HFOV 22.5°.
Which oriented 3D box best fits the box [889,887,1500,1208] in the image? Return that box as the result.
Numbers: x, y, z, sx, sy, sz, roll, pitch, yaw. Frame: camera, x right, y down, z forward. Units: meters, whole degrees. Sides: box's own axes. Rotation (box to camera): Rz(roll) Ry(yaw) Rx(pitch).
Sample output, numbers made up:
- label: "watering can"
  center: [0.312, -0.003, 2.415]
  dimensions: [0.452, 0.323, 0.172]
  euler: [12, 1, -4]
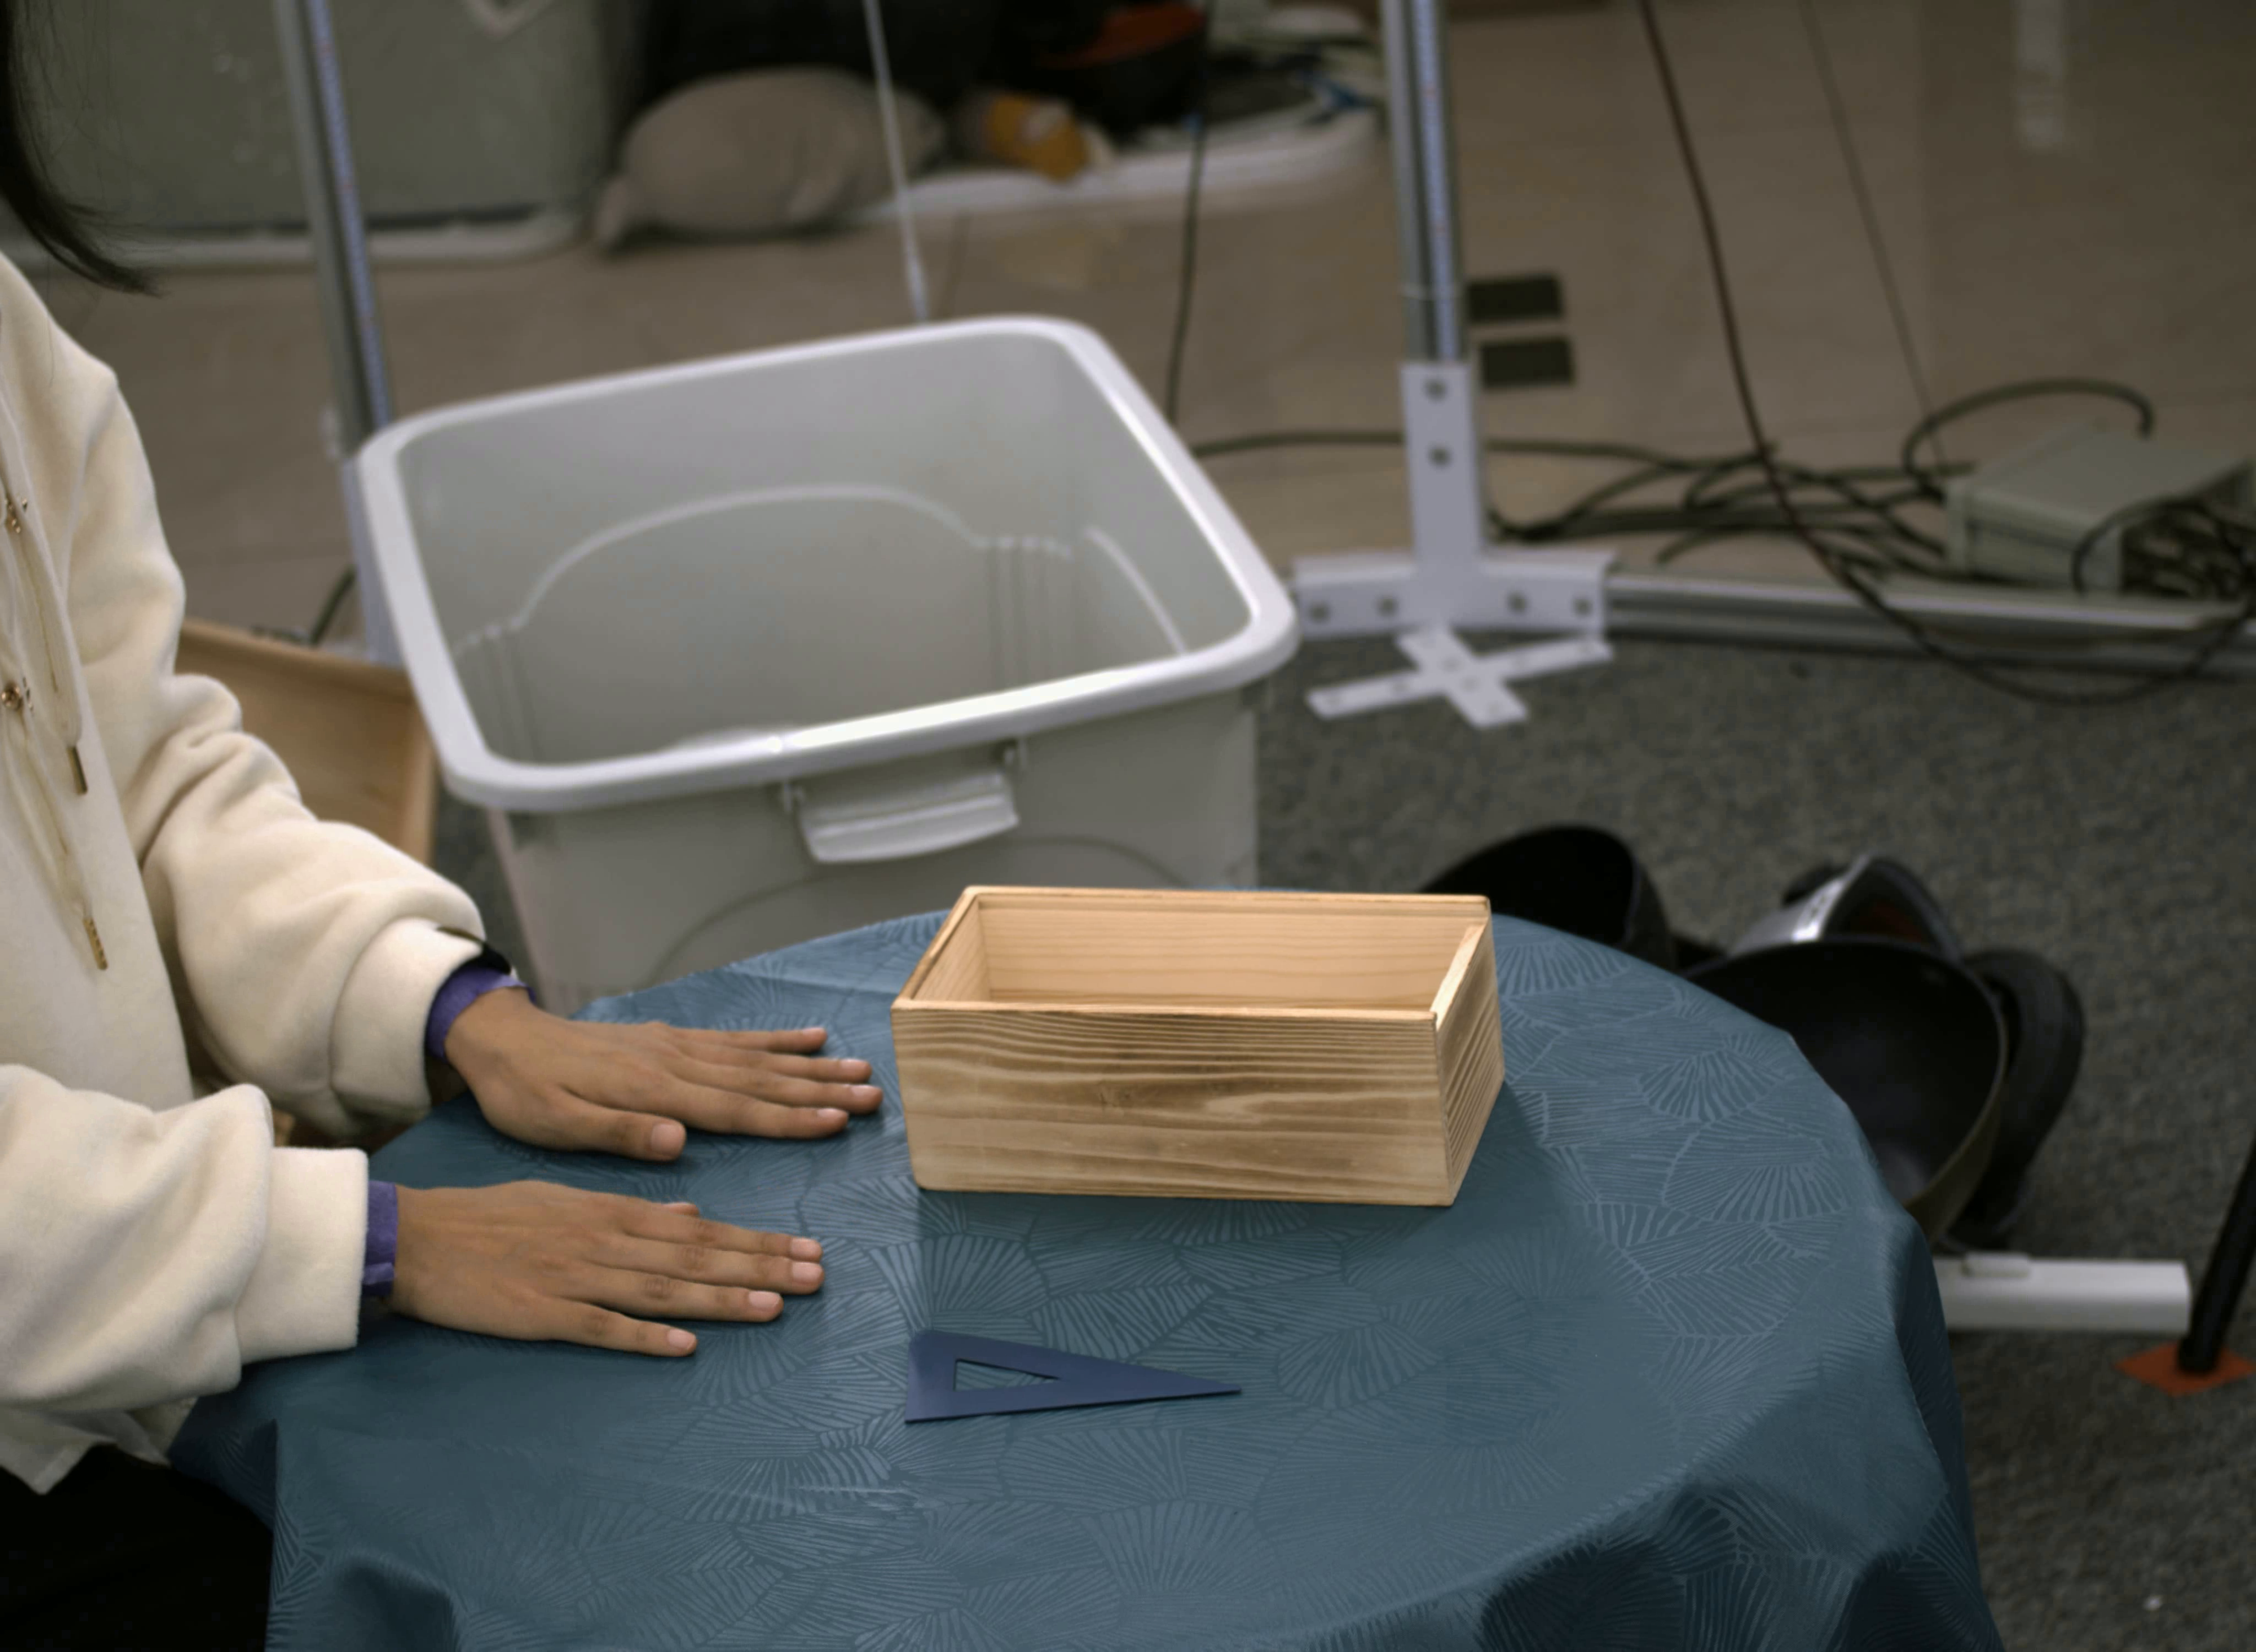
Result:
- label: "box"
  center: [0.027, 0.083, 2.166]
  dimensions: [0.211, 0.081, 0.106]
  euler: [1, 26, 15]

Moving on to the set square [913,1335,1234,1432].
- label: "set square"
  center: [-0.029, 0.205, 2.008]
  dimensions: [0.131, 0.006, 0.060]
  euler: [11, 29, 33]
